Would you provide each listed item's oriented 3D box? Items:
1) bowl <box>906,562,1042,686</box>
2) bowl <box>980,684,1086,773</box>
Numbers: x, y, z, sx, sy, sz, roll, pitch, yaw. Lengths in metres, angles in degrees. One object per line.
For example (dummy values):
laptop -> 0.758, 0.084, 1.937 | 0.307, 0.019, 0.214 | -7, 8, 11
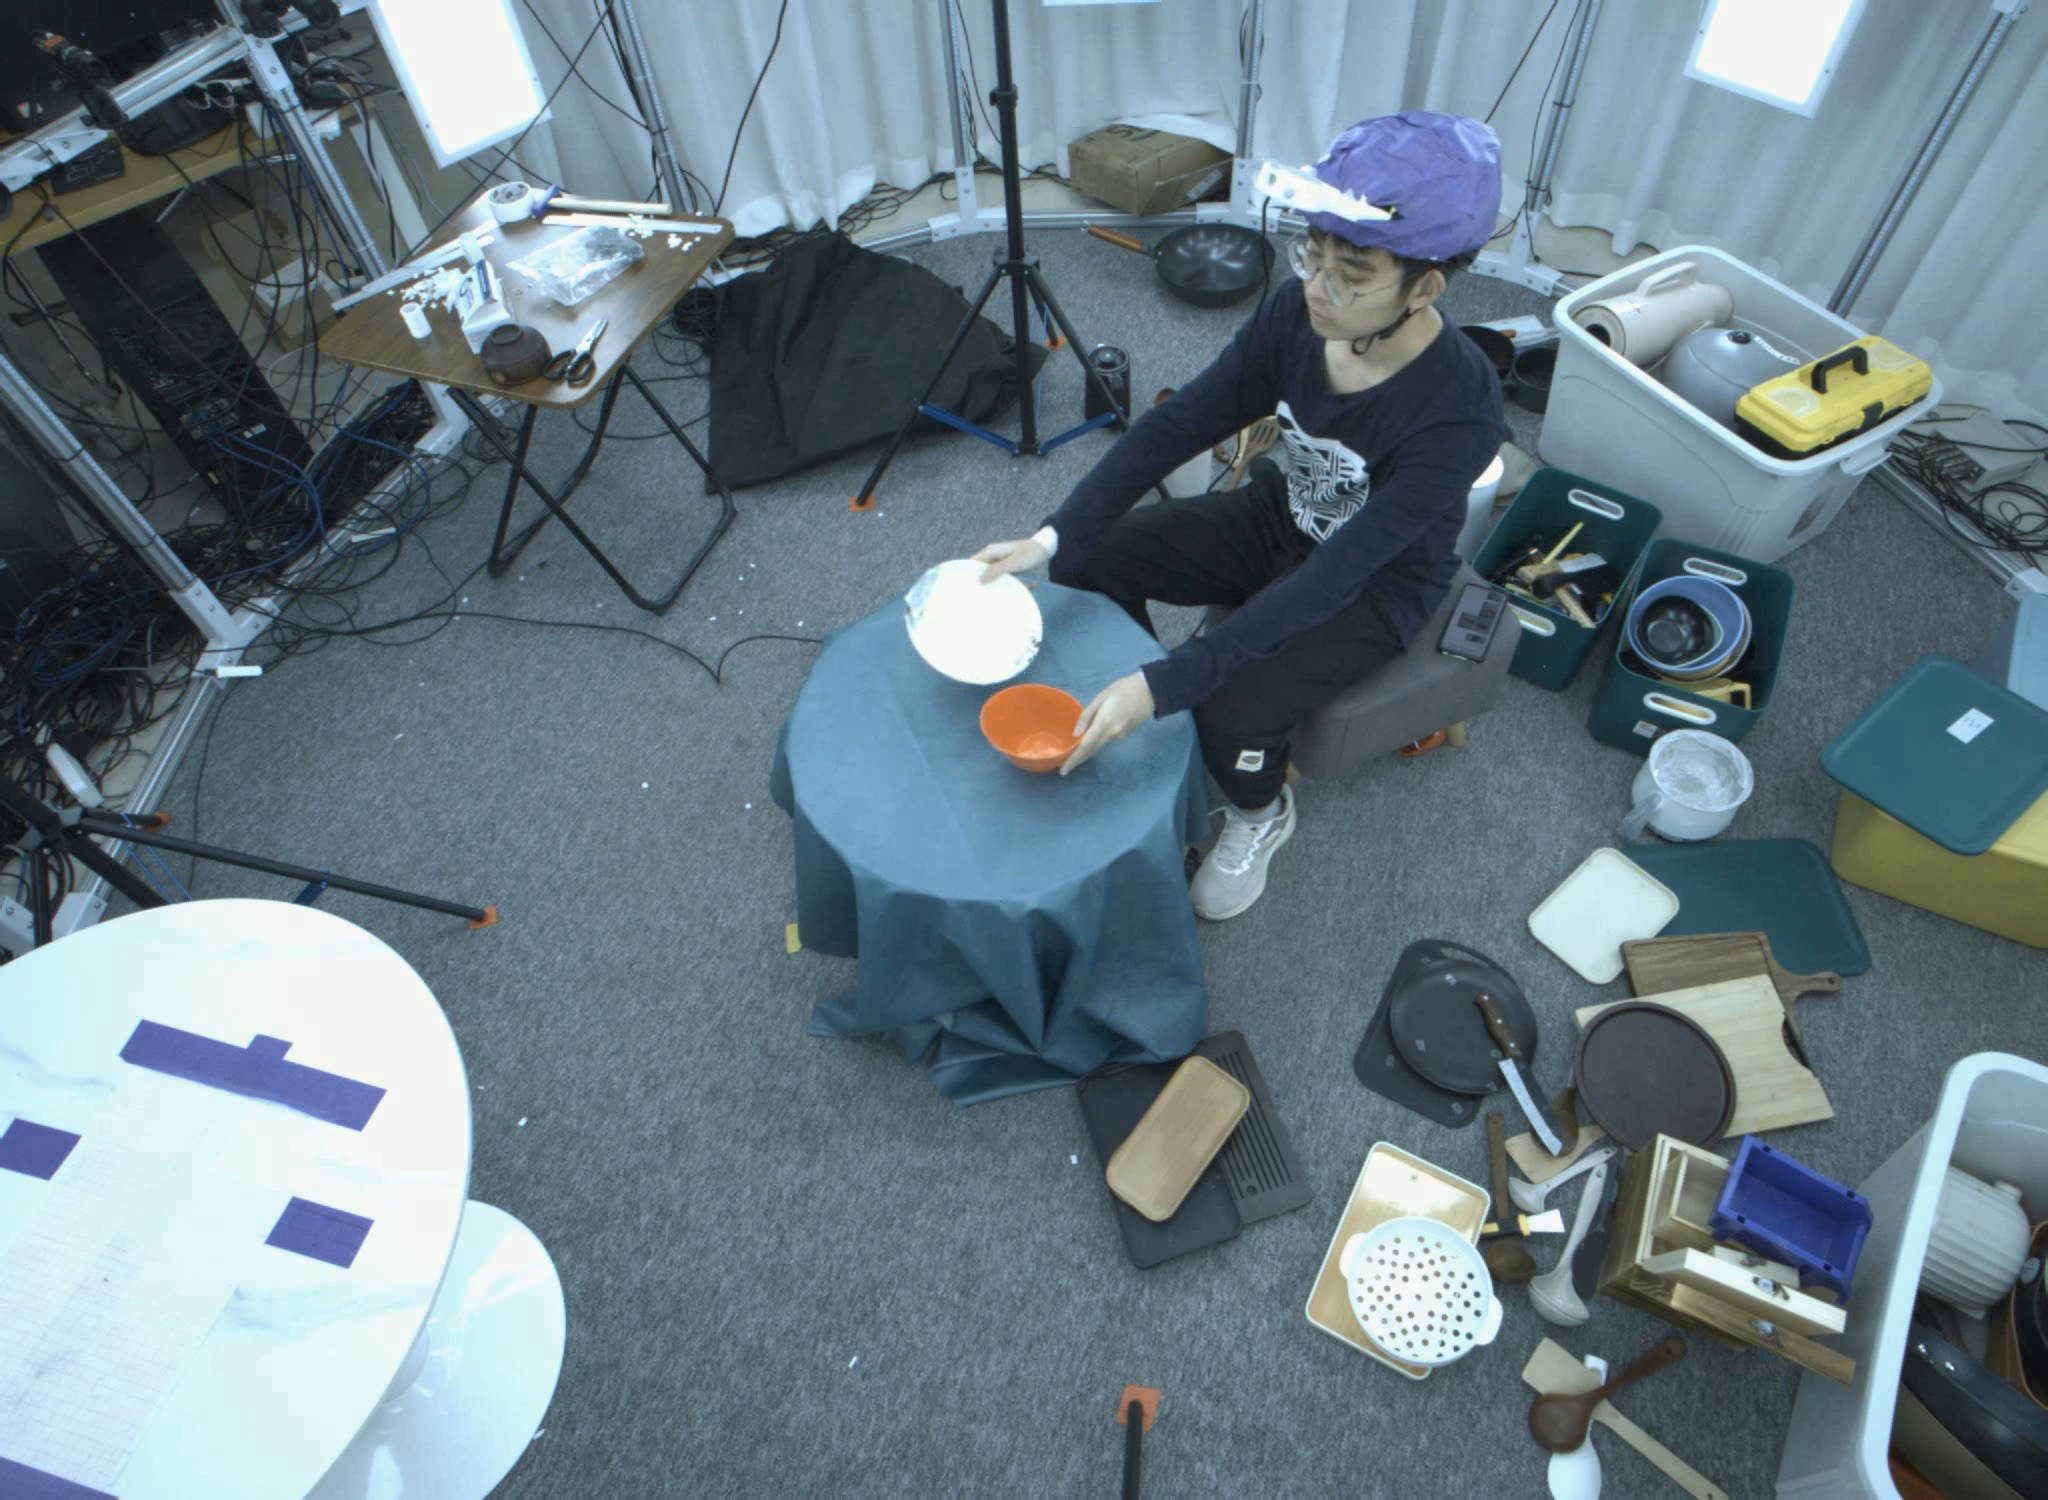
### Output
bowl -> -0.081, -0.172, 1.815 | 0.206, 0.077, 0.202 | 8, 66, -16
bowl -> 0.014, -0.016, 1.745 | 0.148, 0.106, 0.146 | 0, 53, 1
